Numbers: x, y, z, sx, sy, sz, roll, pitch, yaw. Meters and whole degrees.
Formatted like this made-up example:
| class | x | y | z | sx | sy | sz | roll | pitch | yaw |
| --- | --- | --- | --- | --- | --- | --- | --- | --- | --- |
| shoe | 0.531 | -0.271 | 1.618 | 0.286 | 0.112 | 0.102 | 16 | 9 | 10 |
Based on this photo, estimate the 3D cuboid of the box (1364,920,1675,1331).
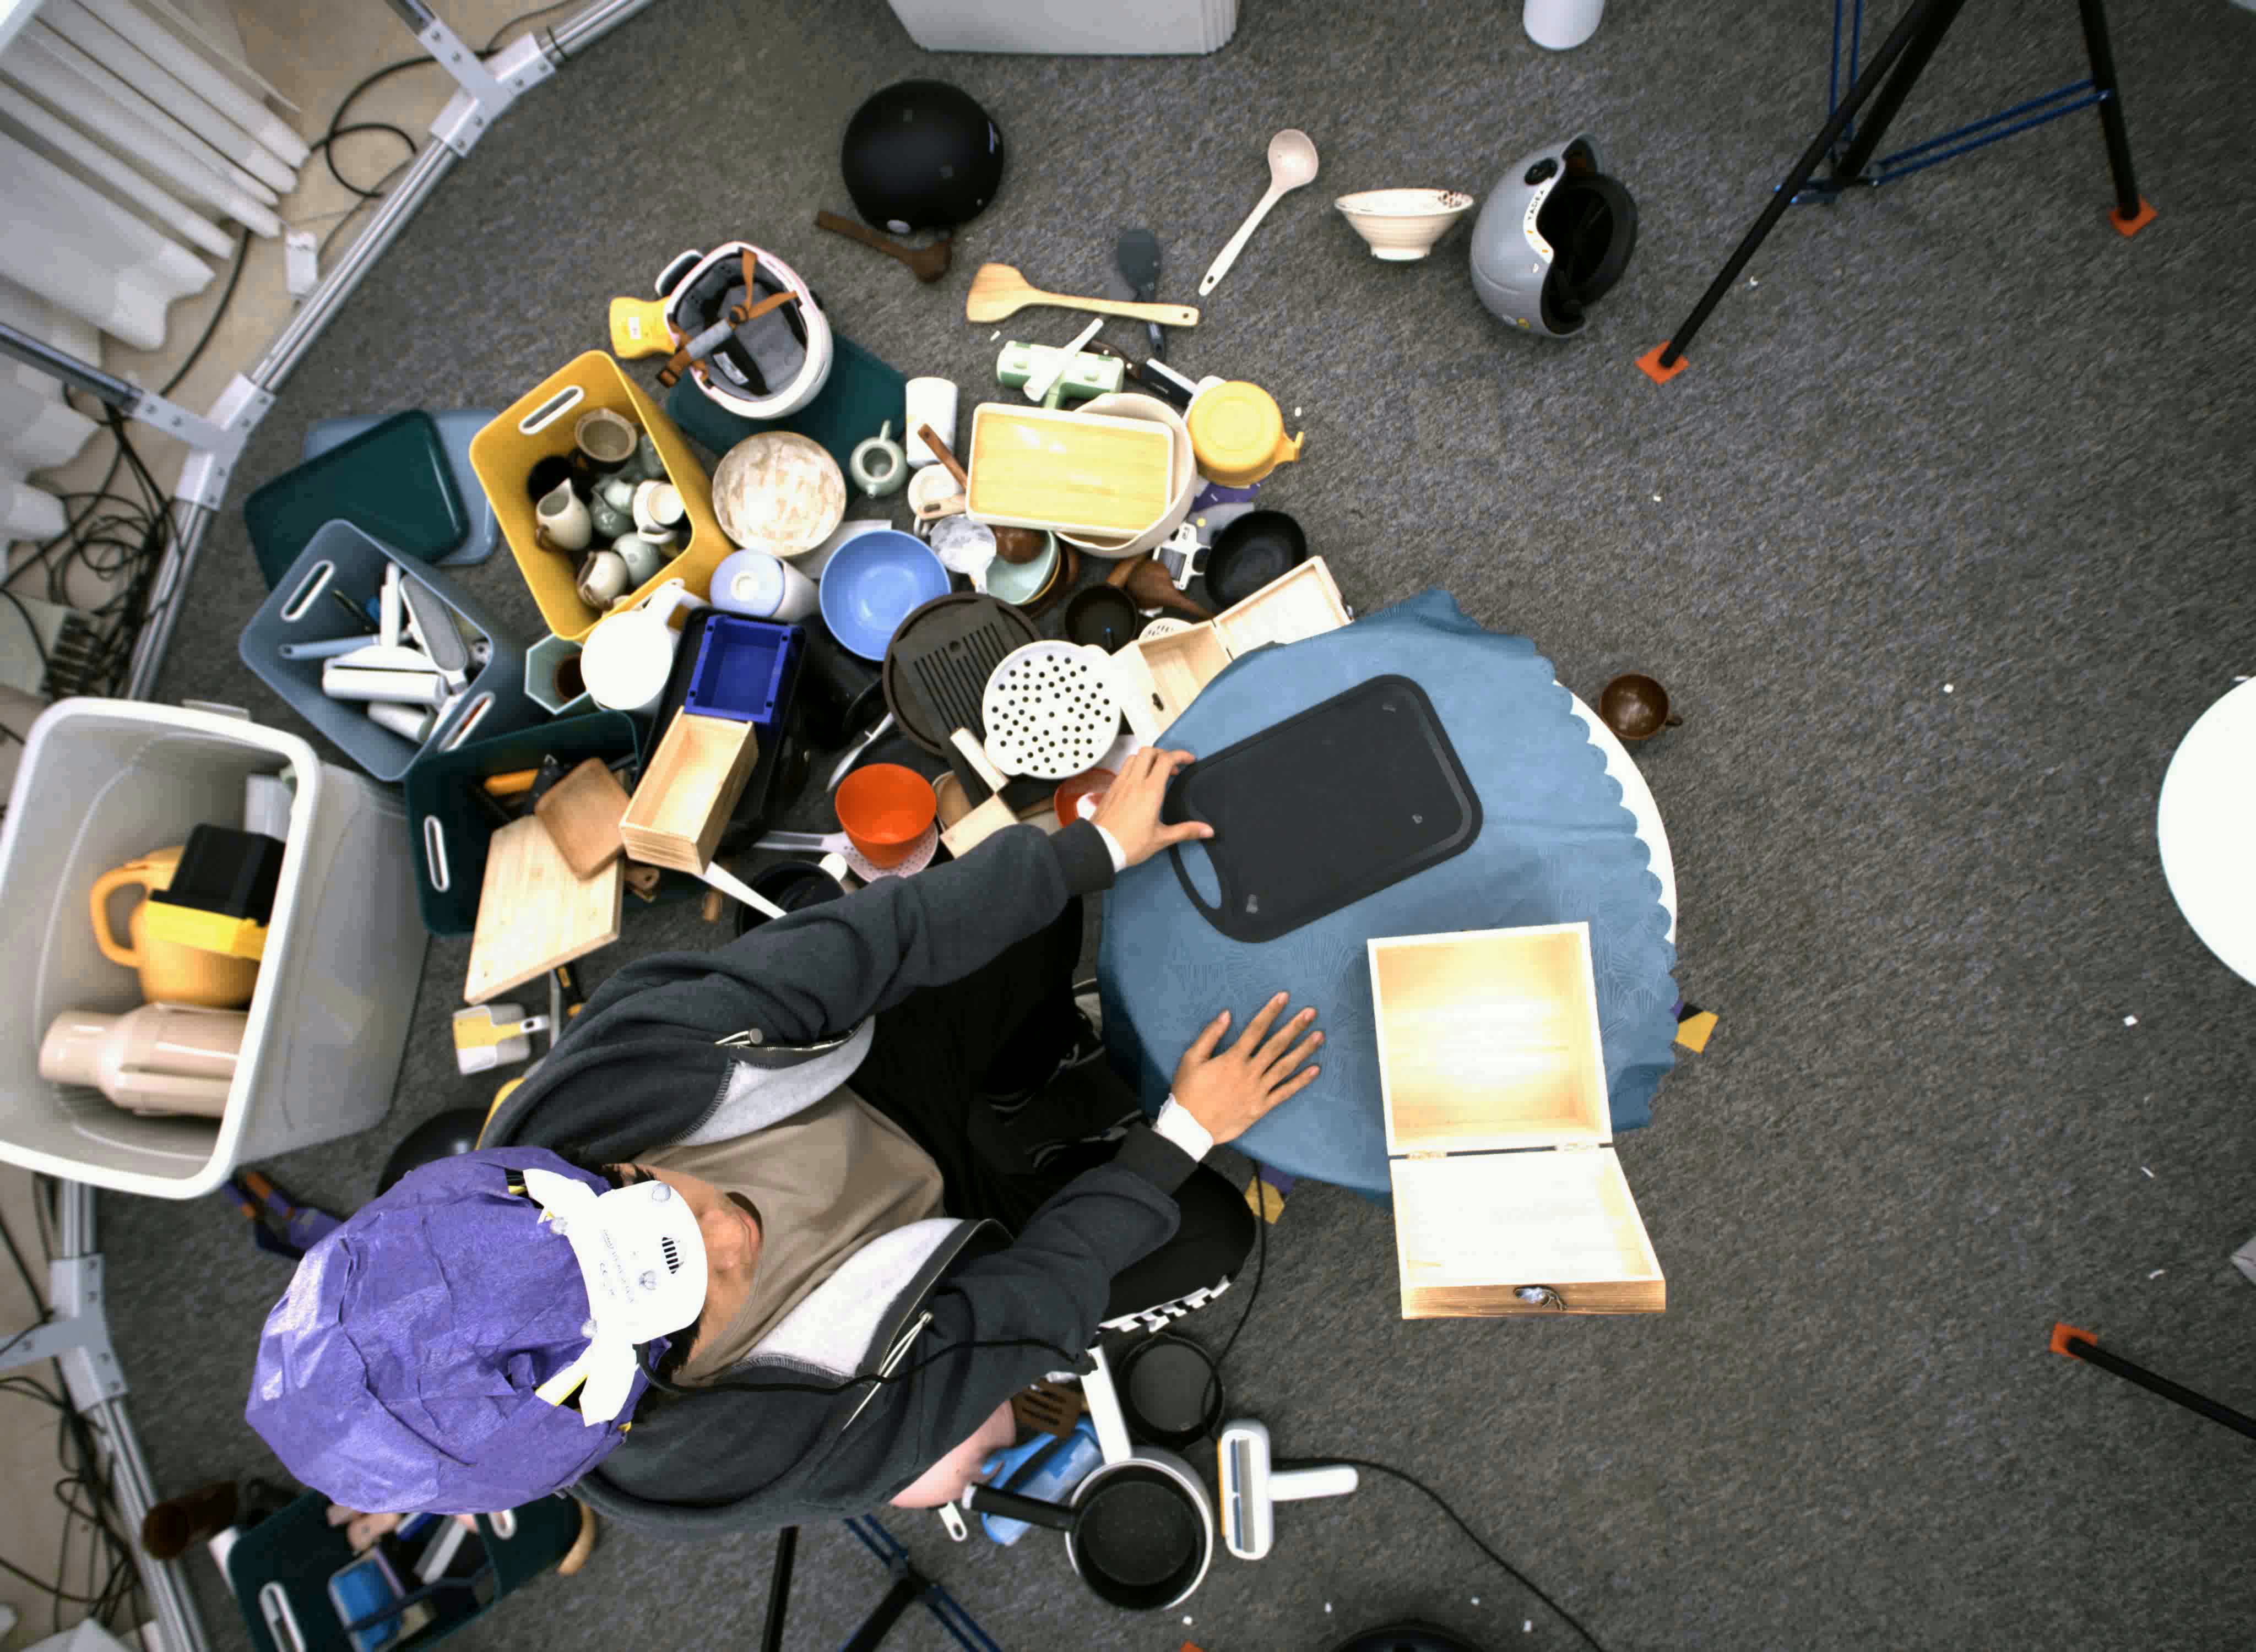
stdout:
| class | x | y | z | sx | sy | sz | roll | pitch | yaw |
| --- | --- | --- | --- | --- | --- | --- | --- | --- | --- |
| box | 0.337 | 0.244 | 1.257 | 0.209 | 0.375 | 0.320 | -6 | 85 | 8 |

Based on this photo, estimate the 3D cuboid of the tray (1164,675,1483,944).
| class | x | y | z | sx | sy | sz | roll | pitch | yaw |
| --- | --- | --- | --- | --- | --- | --- | --- | --- | --- |
| tray | 0.200 | -0.014 | 1.474 | 0.327 | 0.010 | 0.210 | -26 | 83 | 8 |
